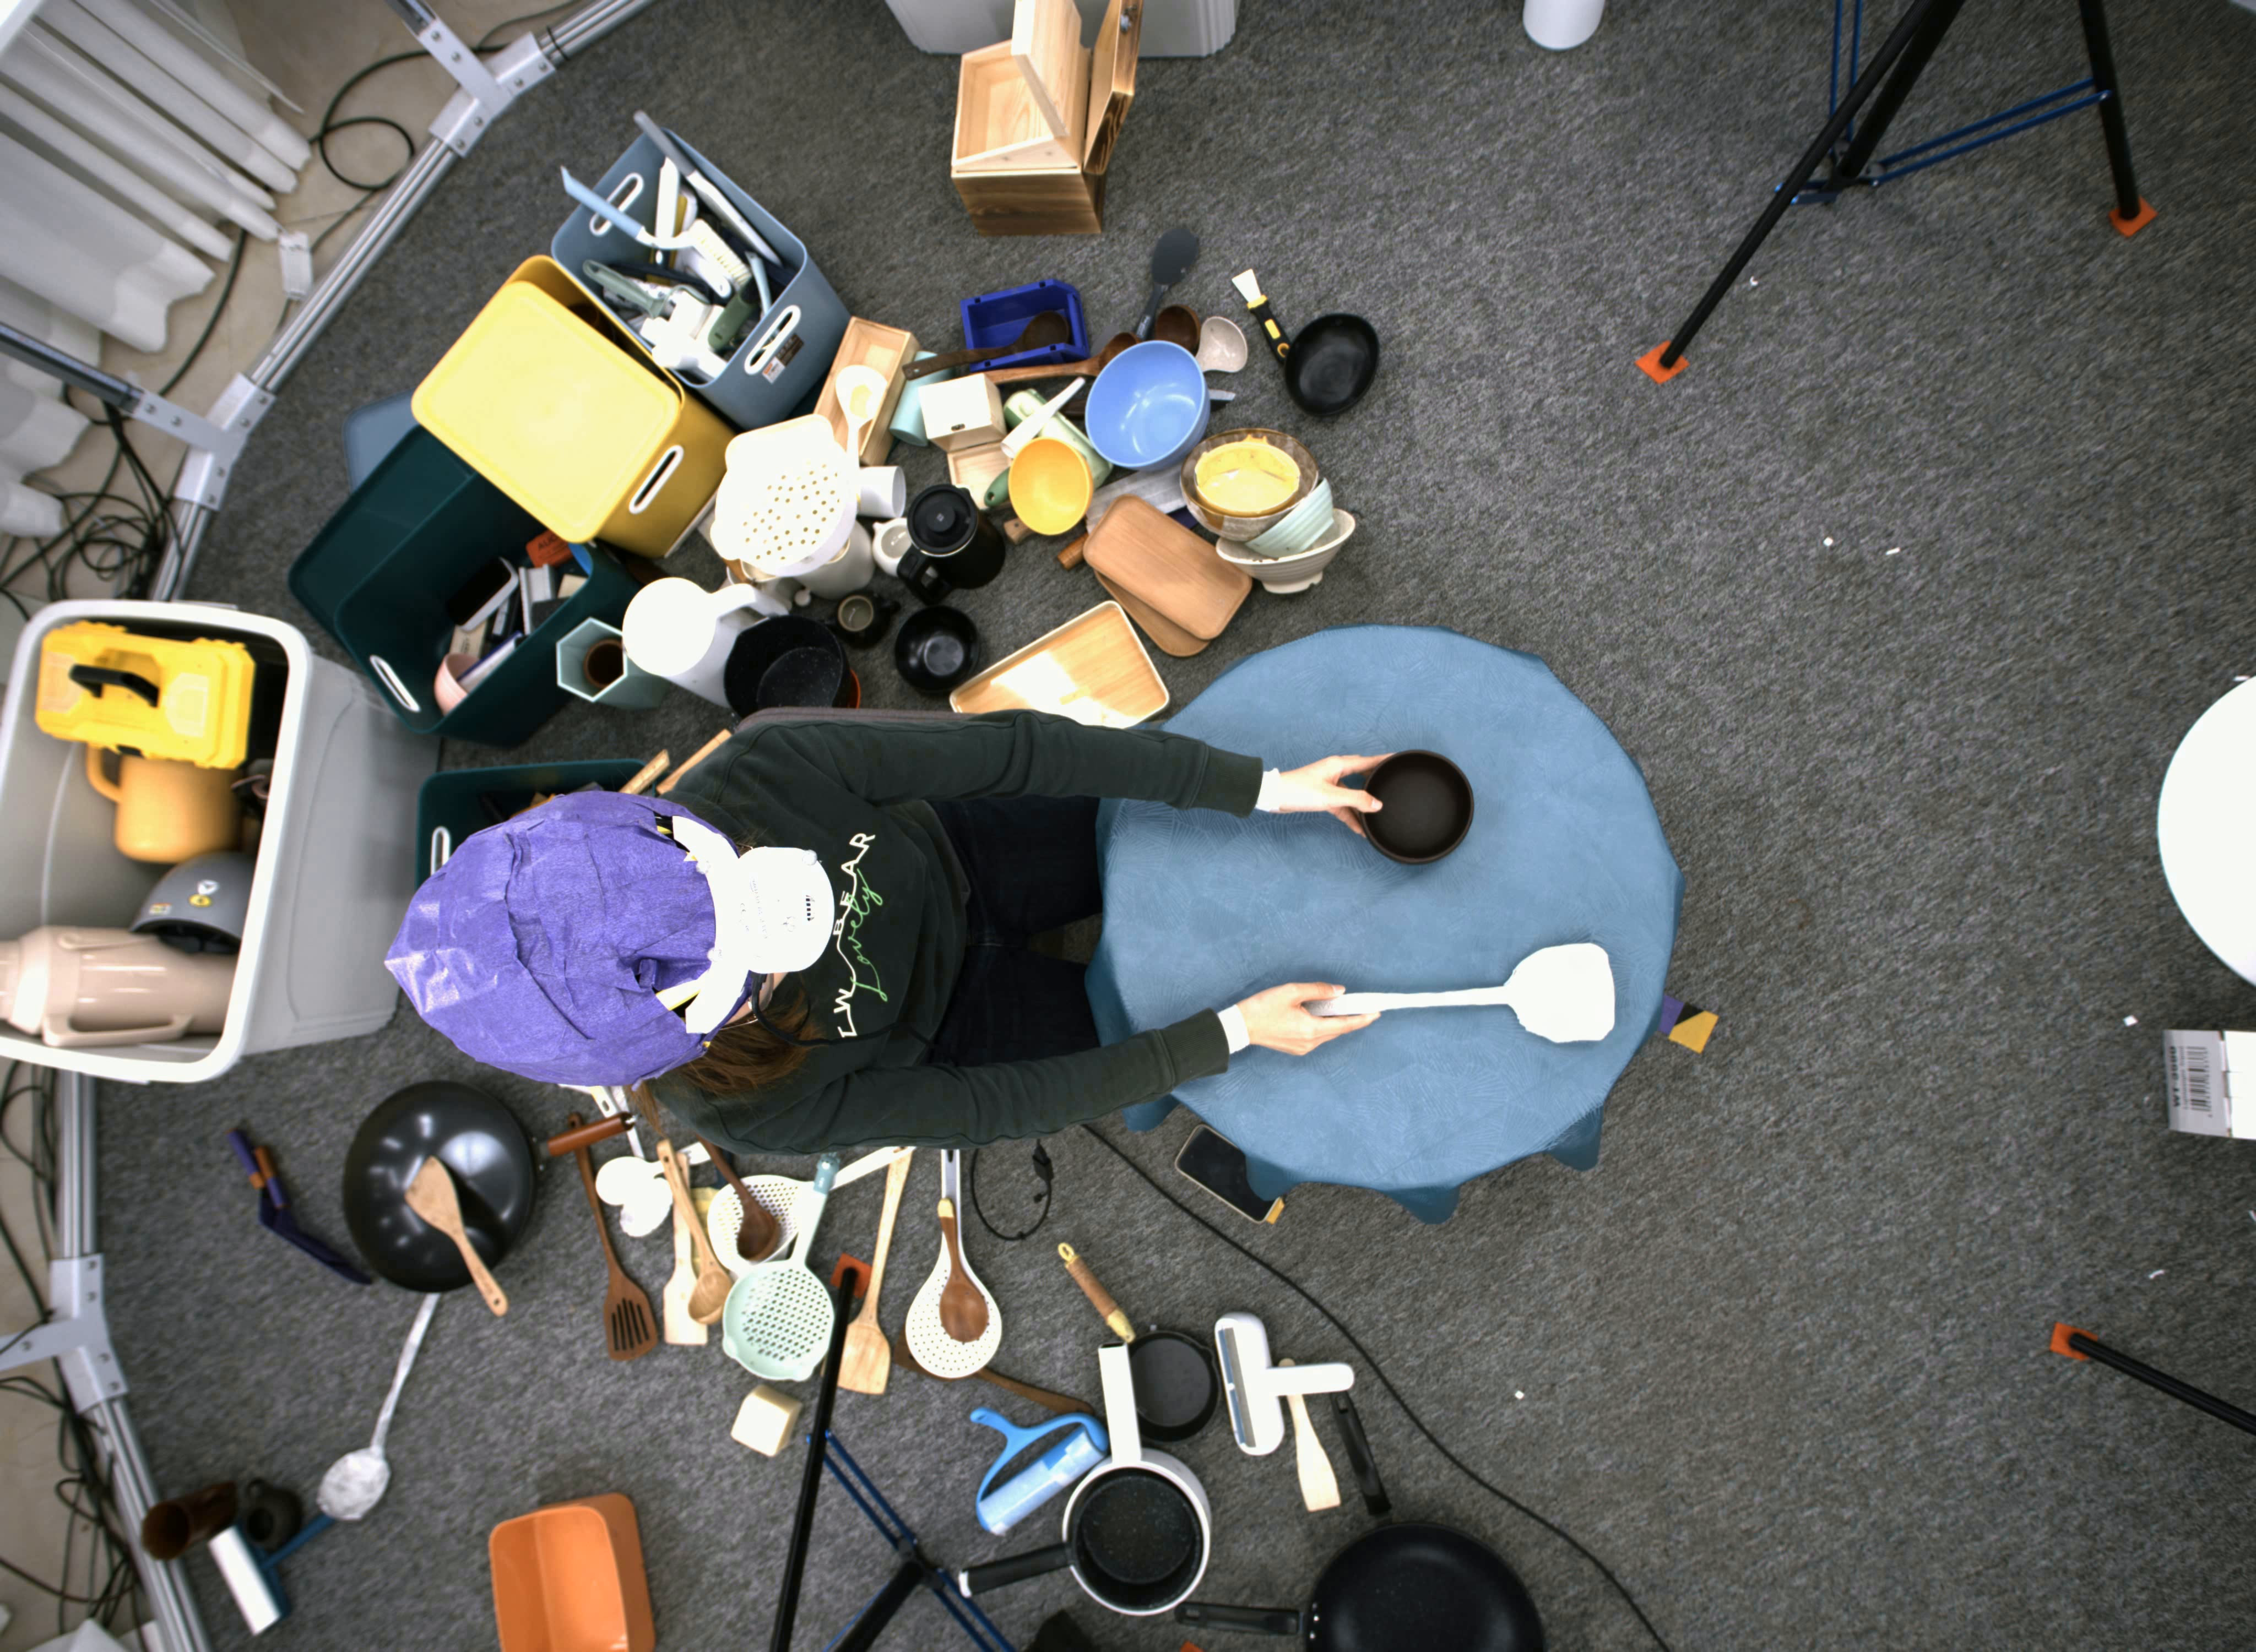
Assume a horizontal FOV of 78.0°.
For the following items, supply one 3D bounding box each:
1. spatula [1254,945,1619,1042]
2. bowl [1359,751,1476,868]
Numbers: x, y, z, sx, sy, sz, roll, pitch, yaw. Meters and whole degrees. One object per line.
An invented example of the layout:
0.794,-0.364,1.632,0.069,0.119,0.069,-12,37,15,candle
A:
0.311,0.174,1.411,0.366,0.045,0.098,-3,88,5,spatula
0.297,-0.016,1.417,0.118,0.070,0.117,-1,84,12,bowl
